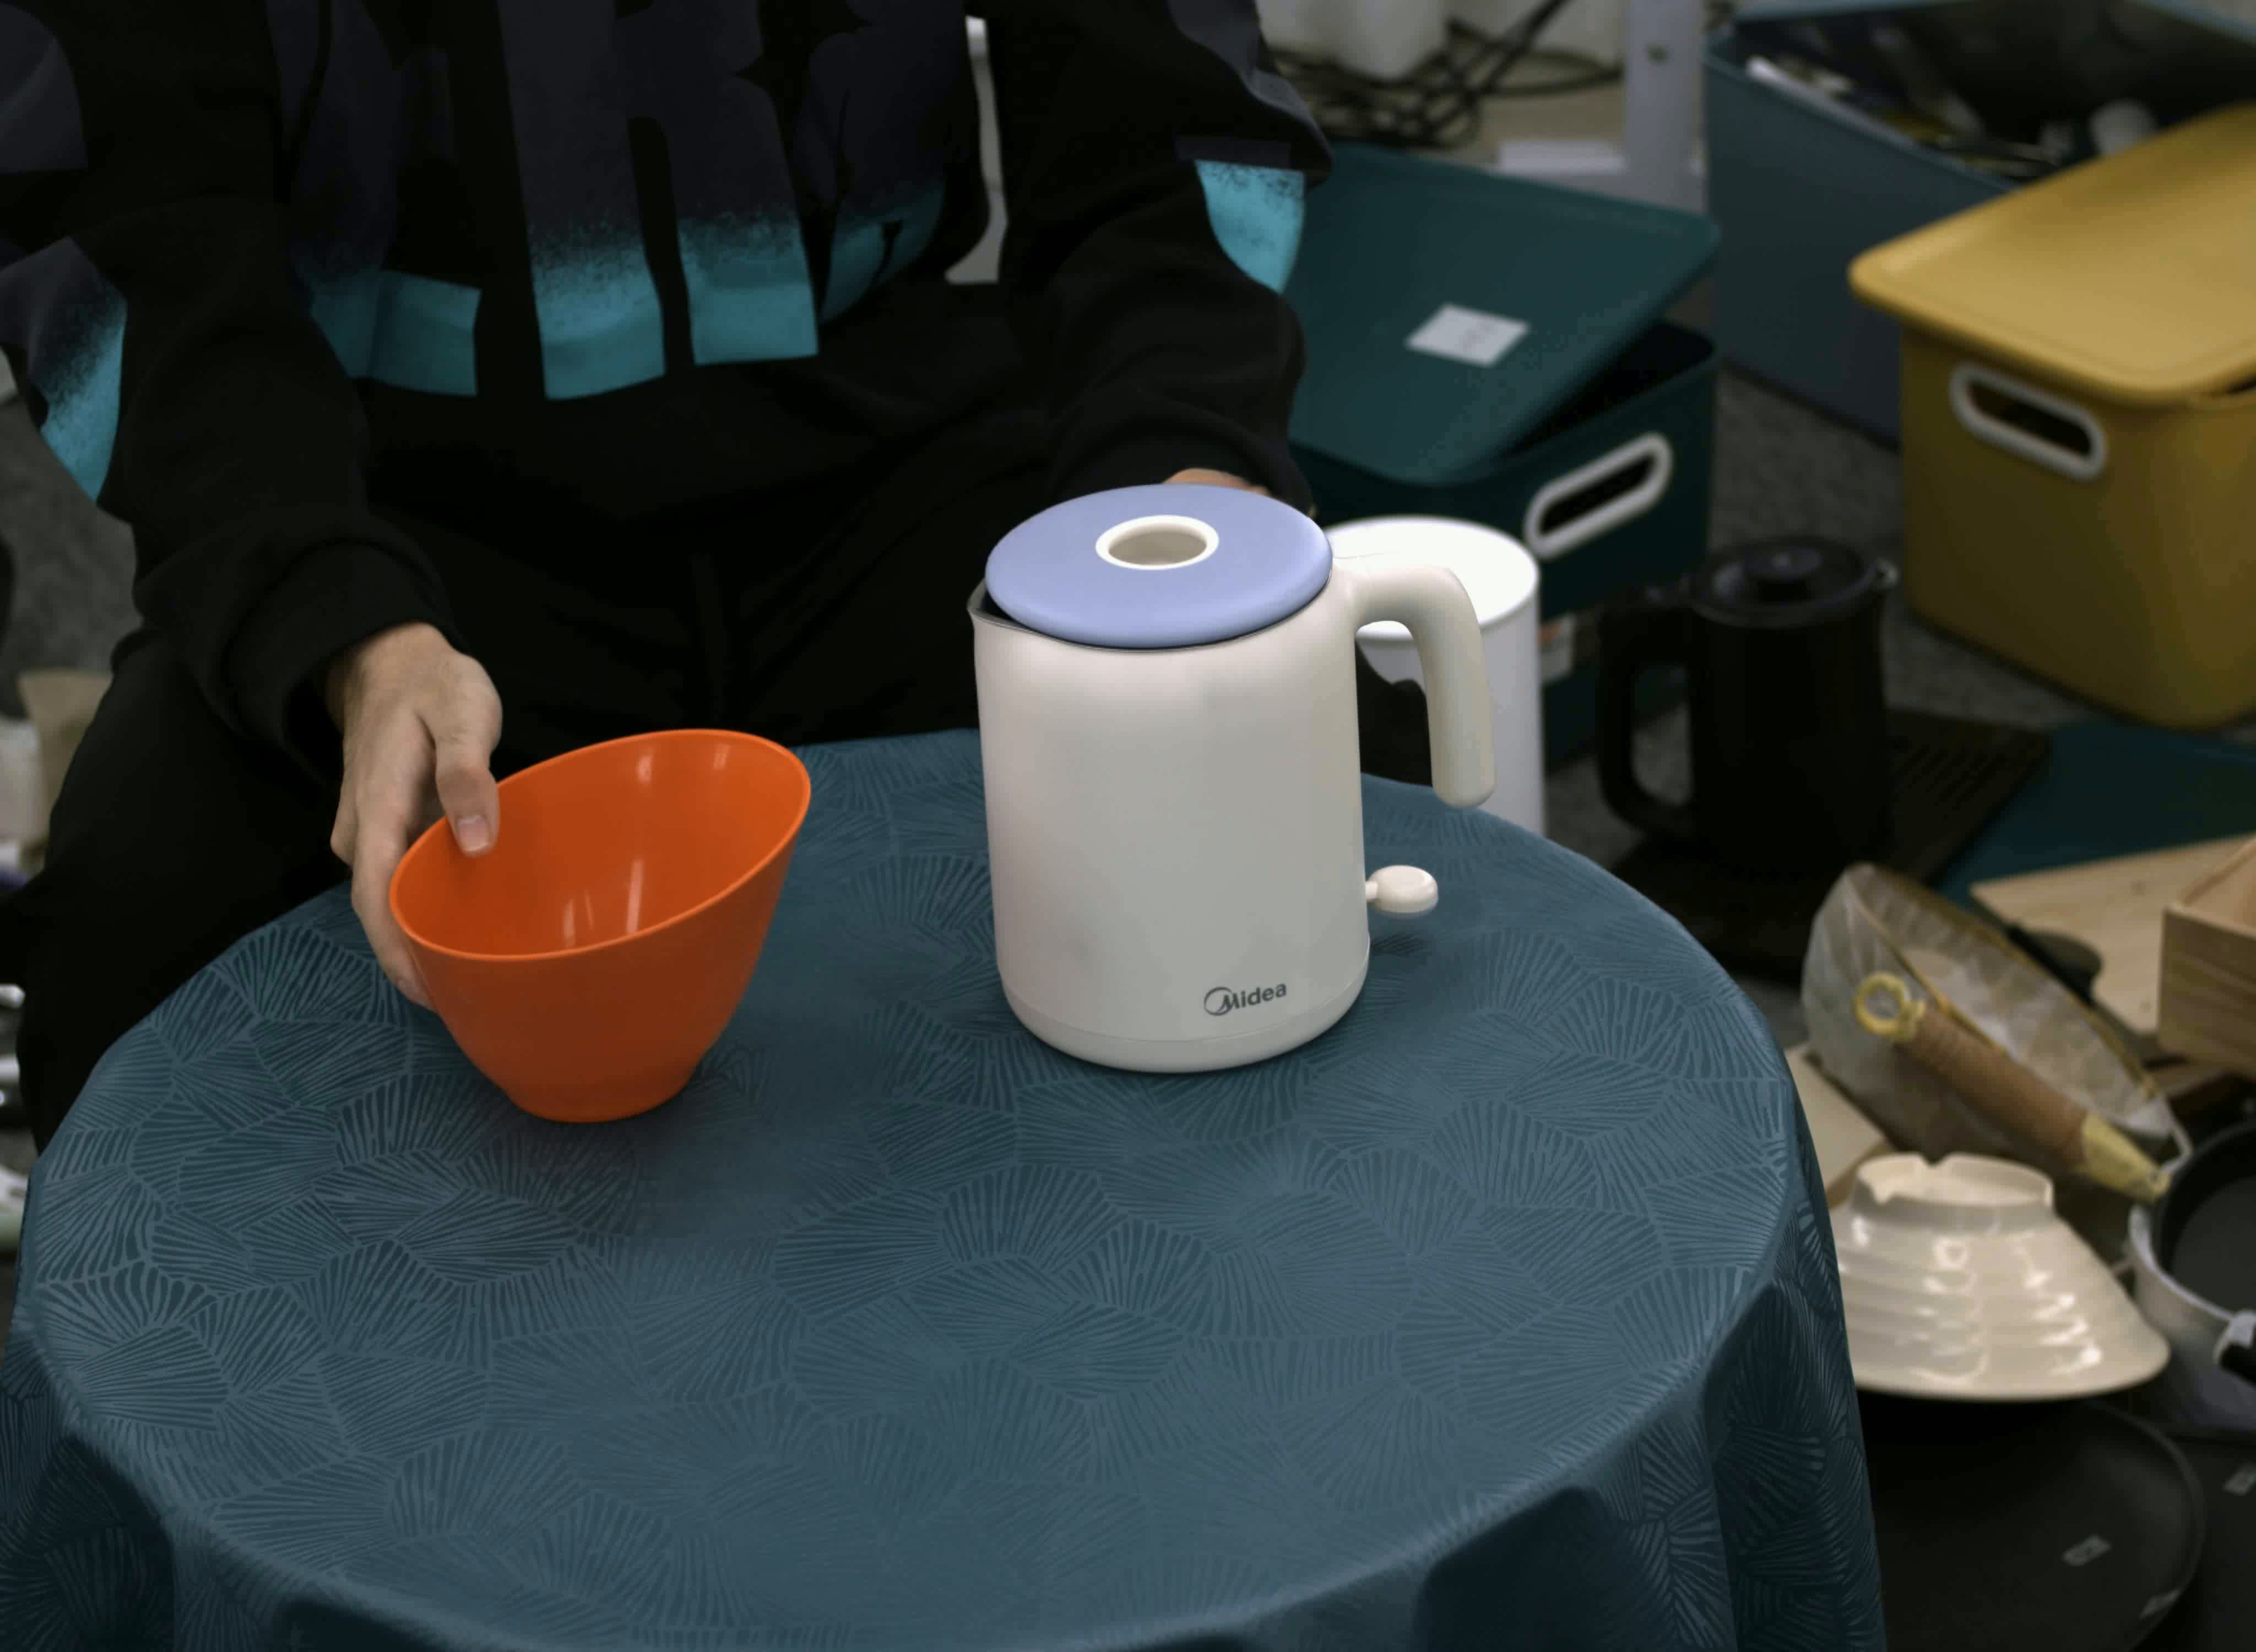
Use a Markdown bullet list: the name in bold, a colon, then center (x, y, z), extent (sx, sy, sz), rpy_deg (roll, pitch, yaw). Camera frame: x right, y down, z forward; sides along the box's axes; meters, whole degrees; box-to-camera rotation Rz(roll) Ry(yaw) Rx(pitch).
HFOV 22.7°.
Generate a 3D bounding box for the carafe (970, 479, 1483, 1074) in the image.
- **carafe**: center (0.037, -0.022, 1.951), extent (0.191, 0.180, 0.133), rpy_deg (-11, 29, -19)

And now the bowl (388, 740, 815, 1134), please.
- **bowl**: center (-0.176, 0.044, 1.919), extent (0.147, 0.103, 0.150), rpy_deg (-3, 27, 2)
